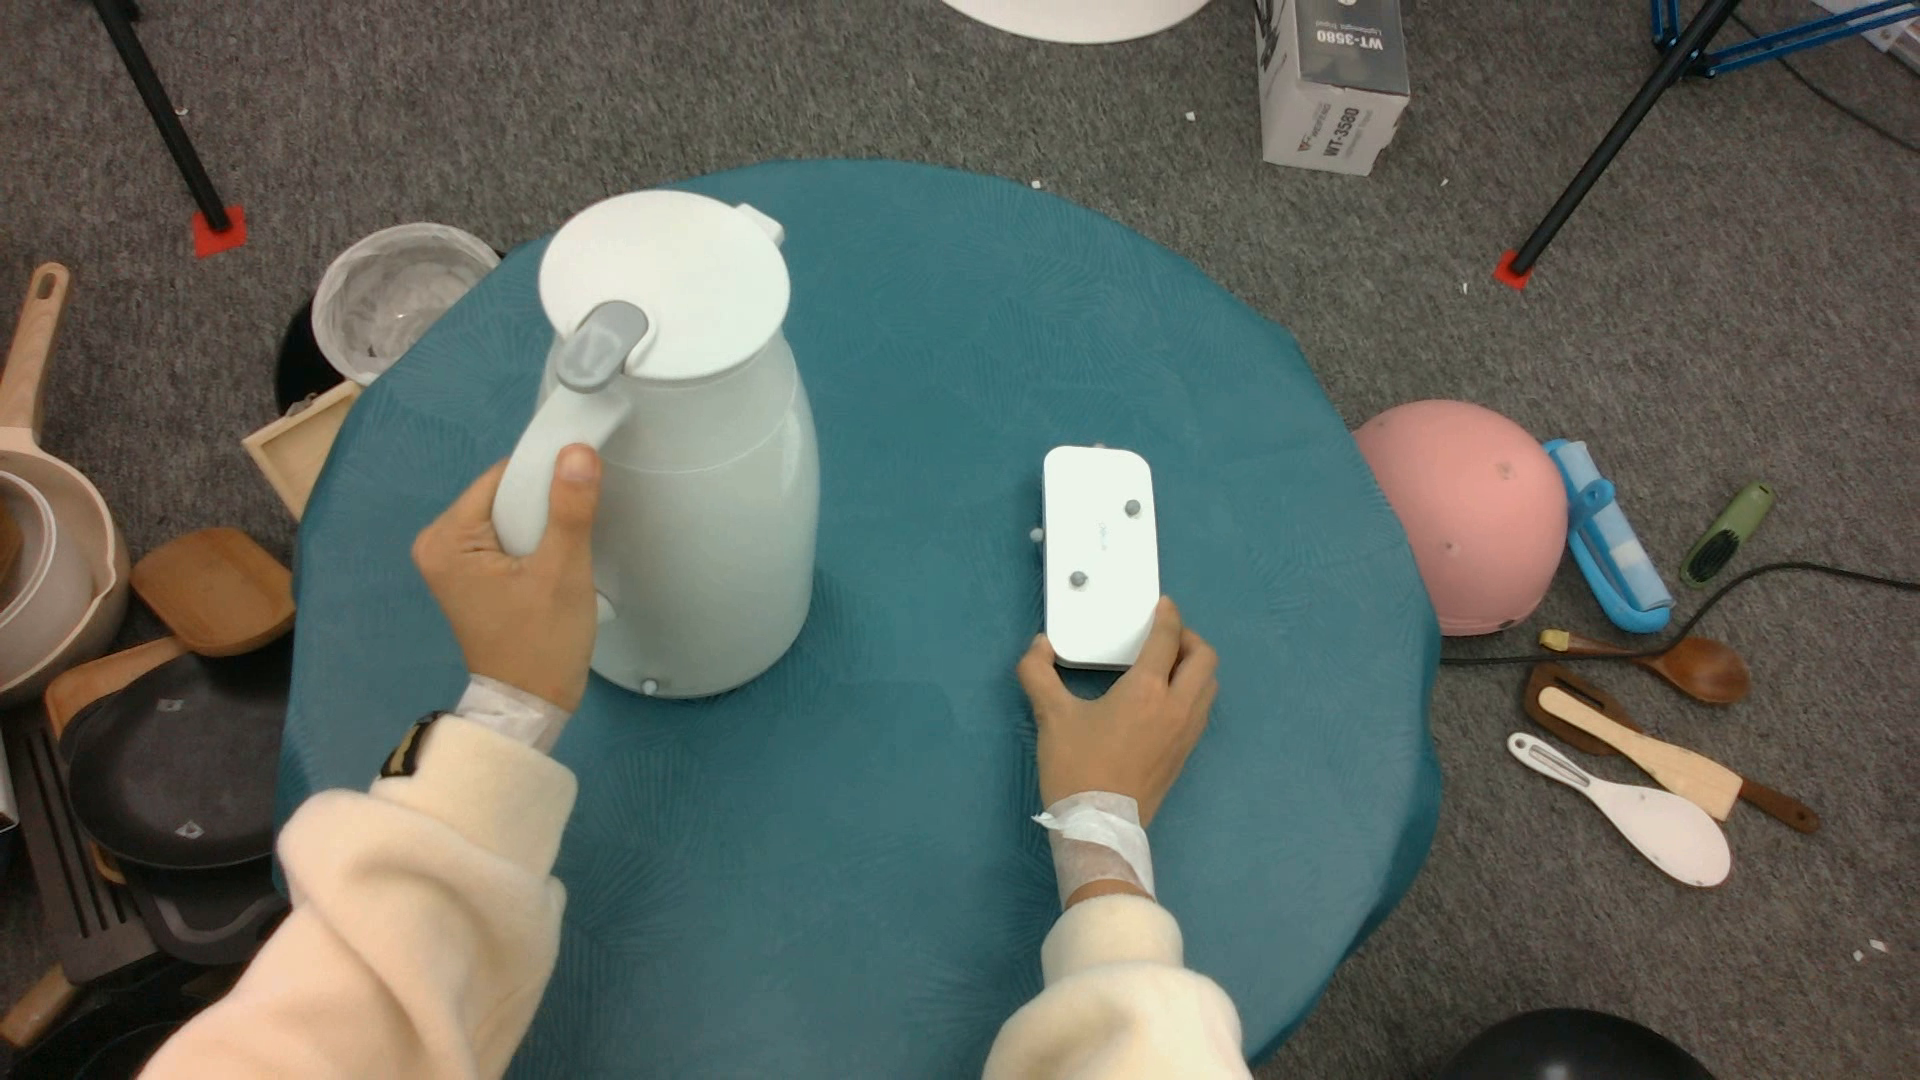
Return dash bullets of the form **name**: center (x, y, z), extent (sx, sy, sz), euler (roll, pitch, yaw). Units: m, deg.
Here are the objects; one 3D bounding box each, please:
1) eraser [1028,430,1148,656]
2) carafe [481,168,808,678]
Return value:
- **eraser**: center (0.067, 0.000, 0.750), extent (0.063, 0.034, 0.132), euler (3, 62, -5)
- **carafe**: center (-0.140, -0.035, 0.607), extent (0.132, 0.247, 0.168), euler (31, 60, 8)
